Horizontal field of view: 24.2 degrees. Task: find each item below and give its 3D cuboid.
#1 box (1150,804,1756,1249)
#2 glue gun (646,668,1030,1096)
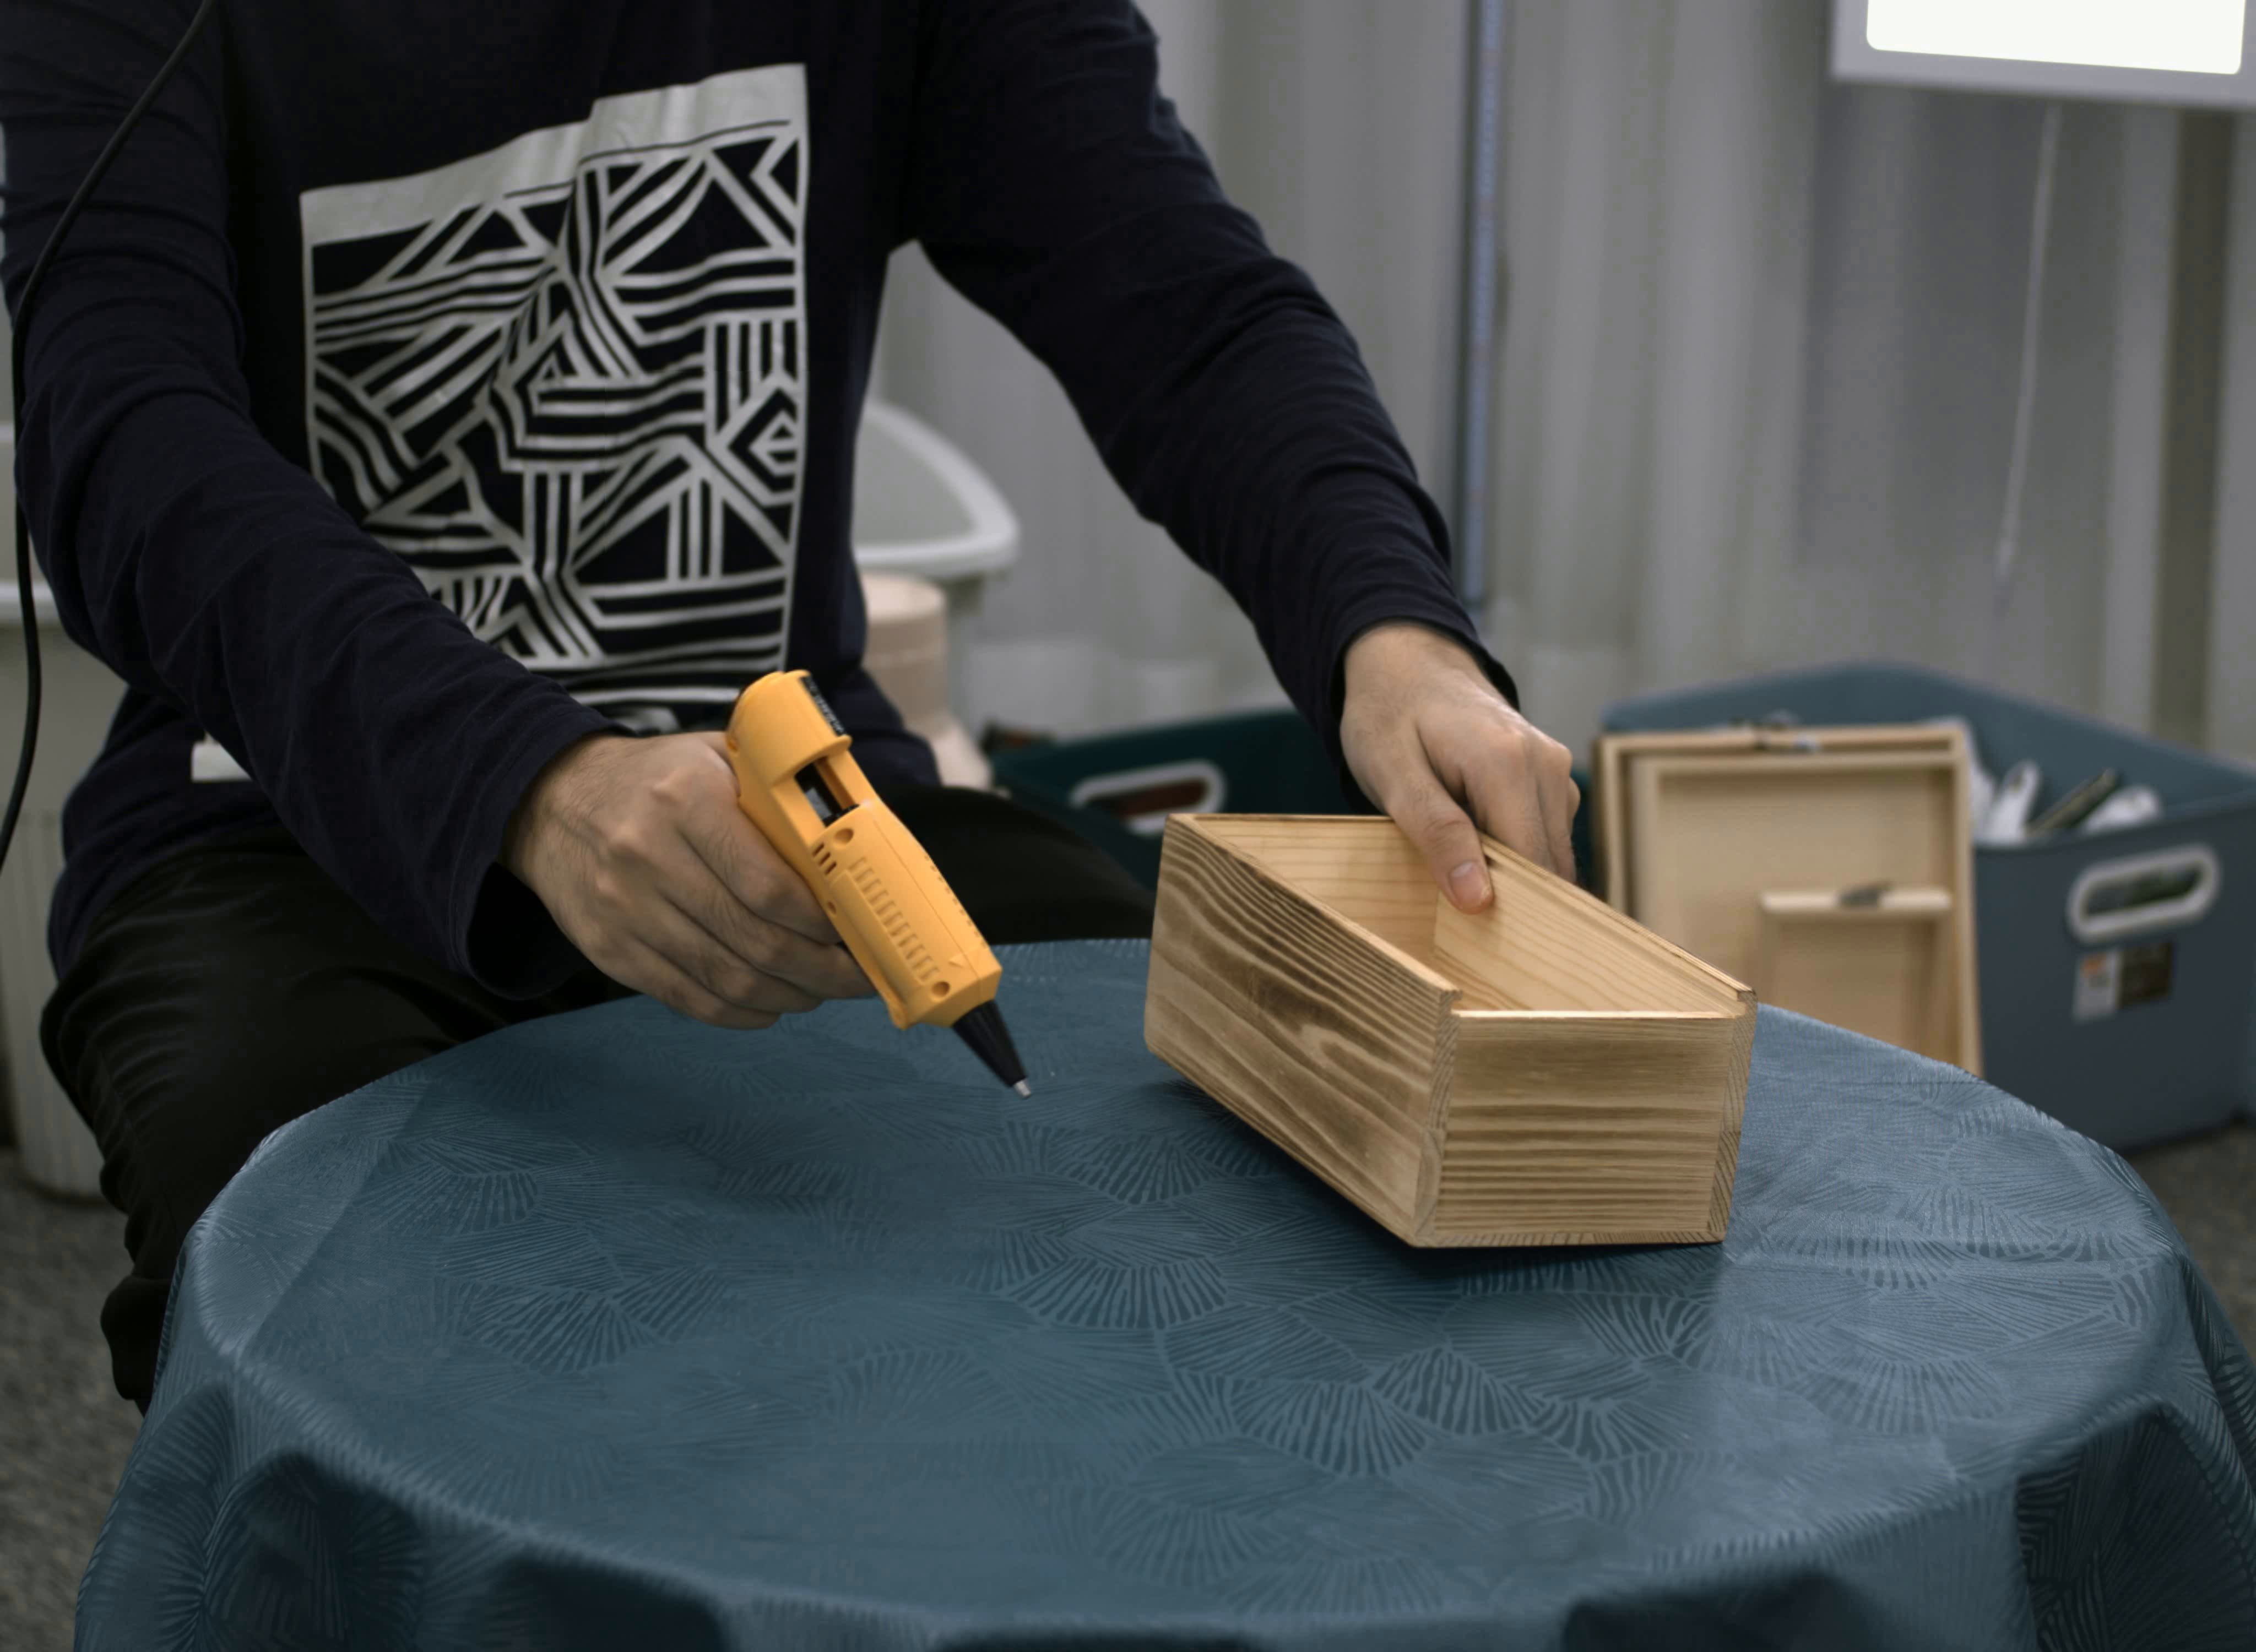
[{"bbox_3d":[0.097,0.060,1.650,0.108,0.081,0.209,2,15,-23],"label":"box"},{"bbox_3d":[-0.087,0.041,1.626,0.031,0.133,0.150,-29,75,-34],"label":"glue gun"}]
